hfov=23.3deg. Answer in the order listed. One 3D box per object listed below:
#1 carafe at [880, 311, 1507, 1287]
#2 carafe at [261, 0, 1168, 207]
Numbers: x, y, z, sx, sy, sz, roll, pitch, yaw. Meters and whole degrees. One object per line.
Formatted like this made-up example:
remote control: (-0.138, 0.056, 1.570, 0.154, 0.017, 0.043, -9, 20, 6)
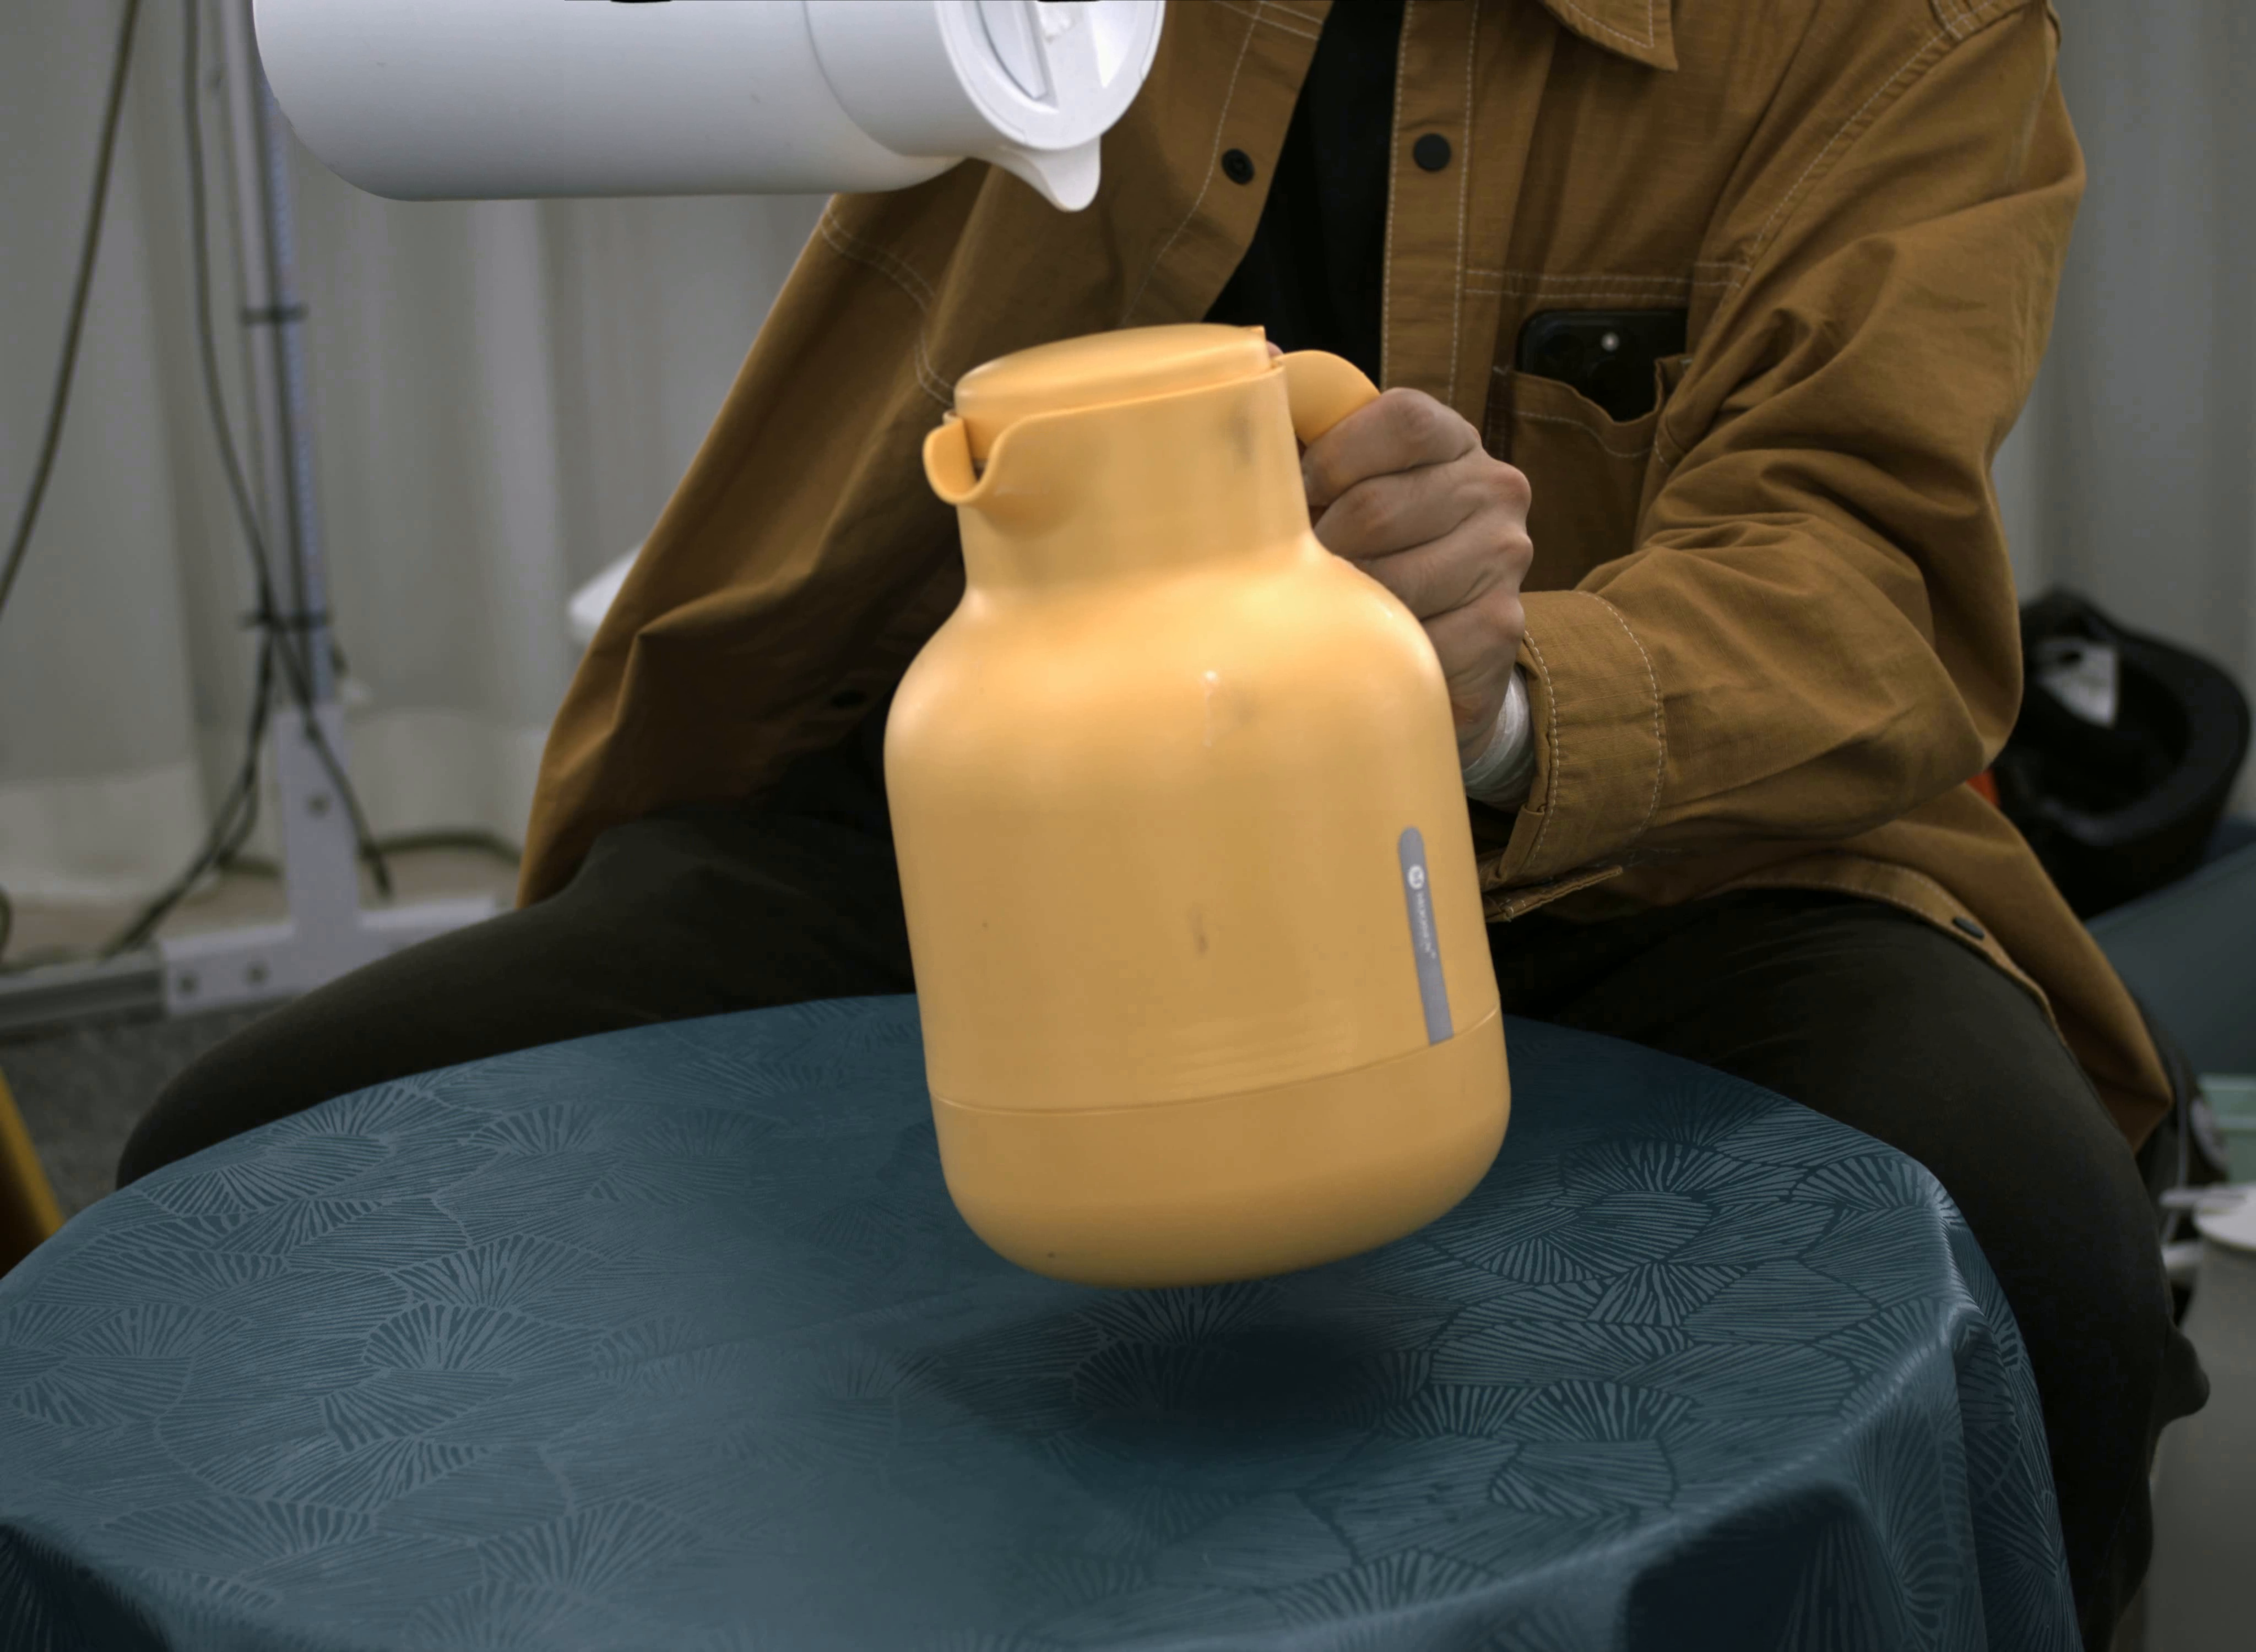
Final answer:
carafe: (0.026, -0.015, 1.546, 0.164, 0.260, 0.202, 1, 14, 41)
carafe: (-0.124, -0.254, 1.561, 0.270, 0.171, 0.124, 4, 28, 42)
